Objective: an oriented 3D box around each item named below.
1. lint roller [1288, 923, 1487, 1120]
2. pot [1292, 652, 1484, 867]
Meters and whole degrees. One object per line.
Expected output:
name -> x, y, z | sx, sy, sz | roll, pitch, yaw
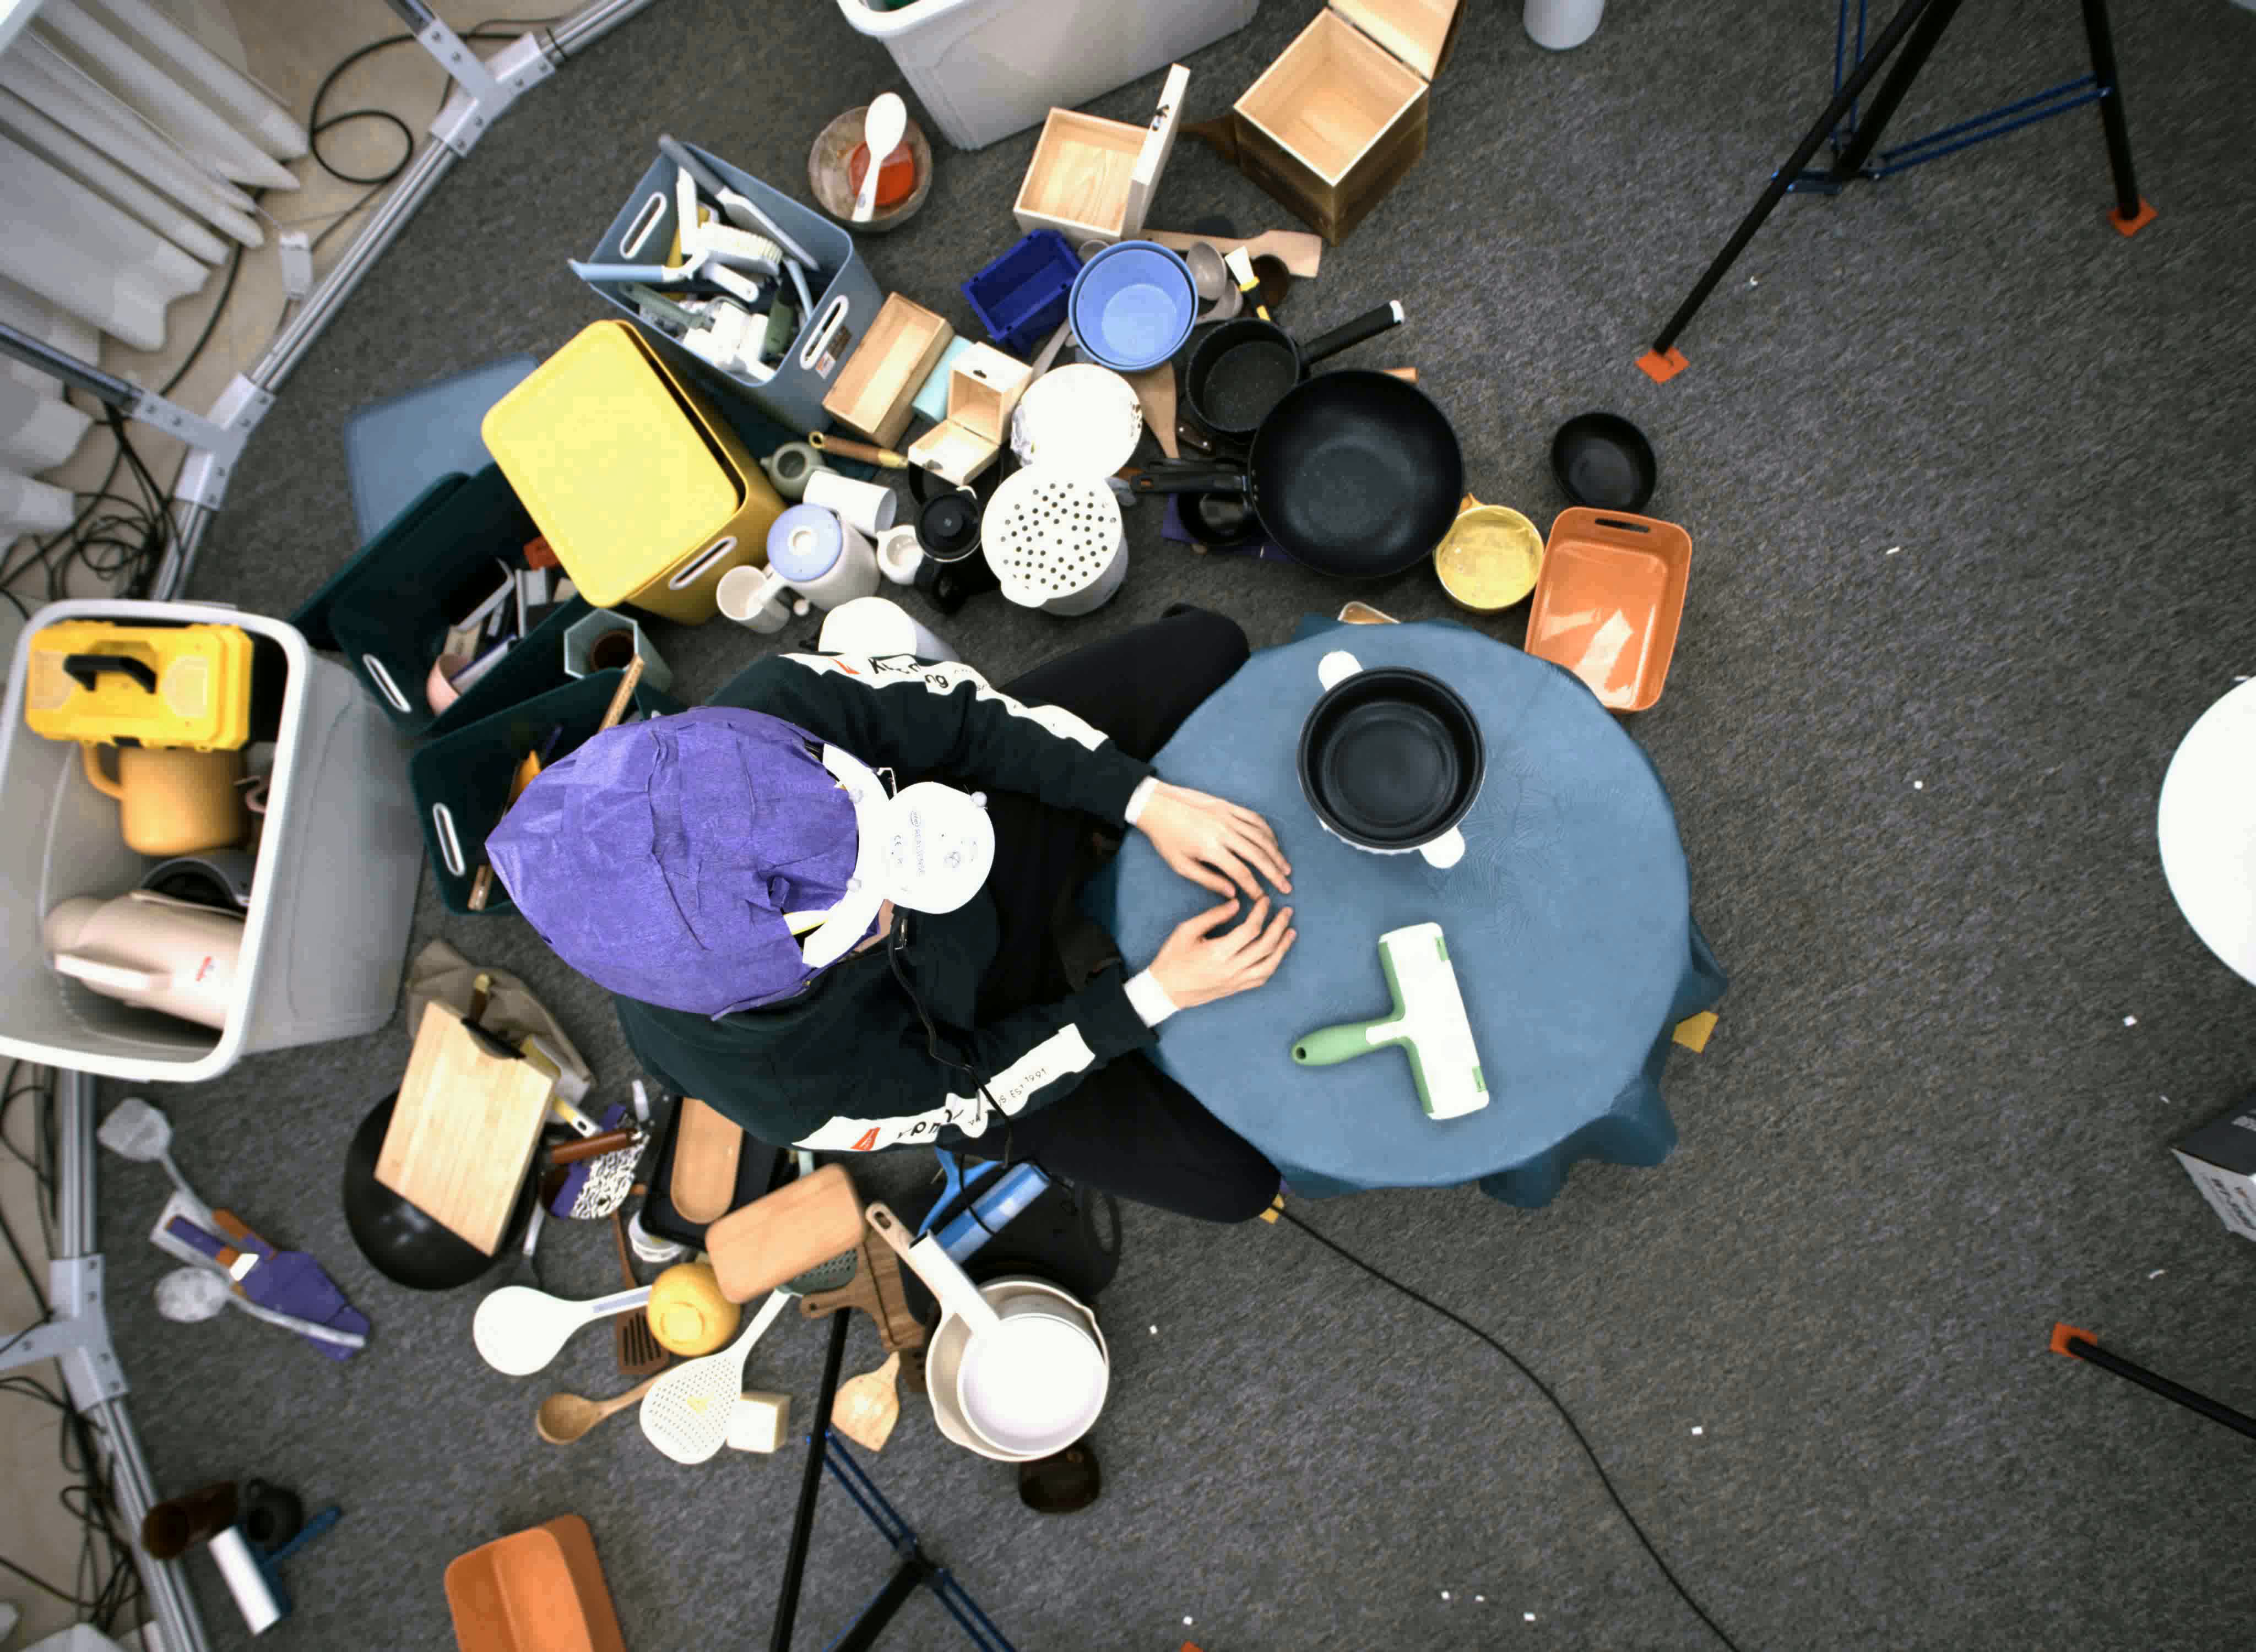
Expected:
lint roller -> 0.254, 0.212, 1.413 | 0.184, 0.082, 0.197 | -15, 85, 4
pot -> 0.267, -0.065, 1.393 | 0.192, 0.142, 0.239 | -31, 83, 10
